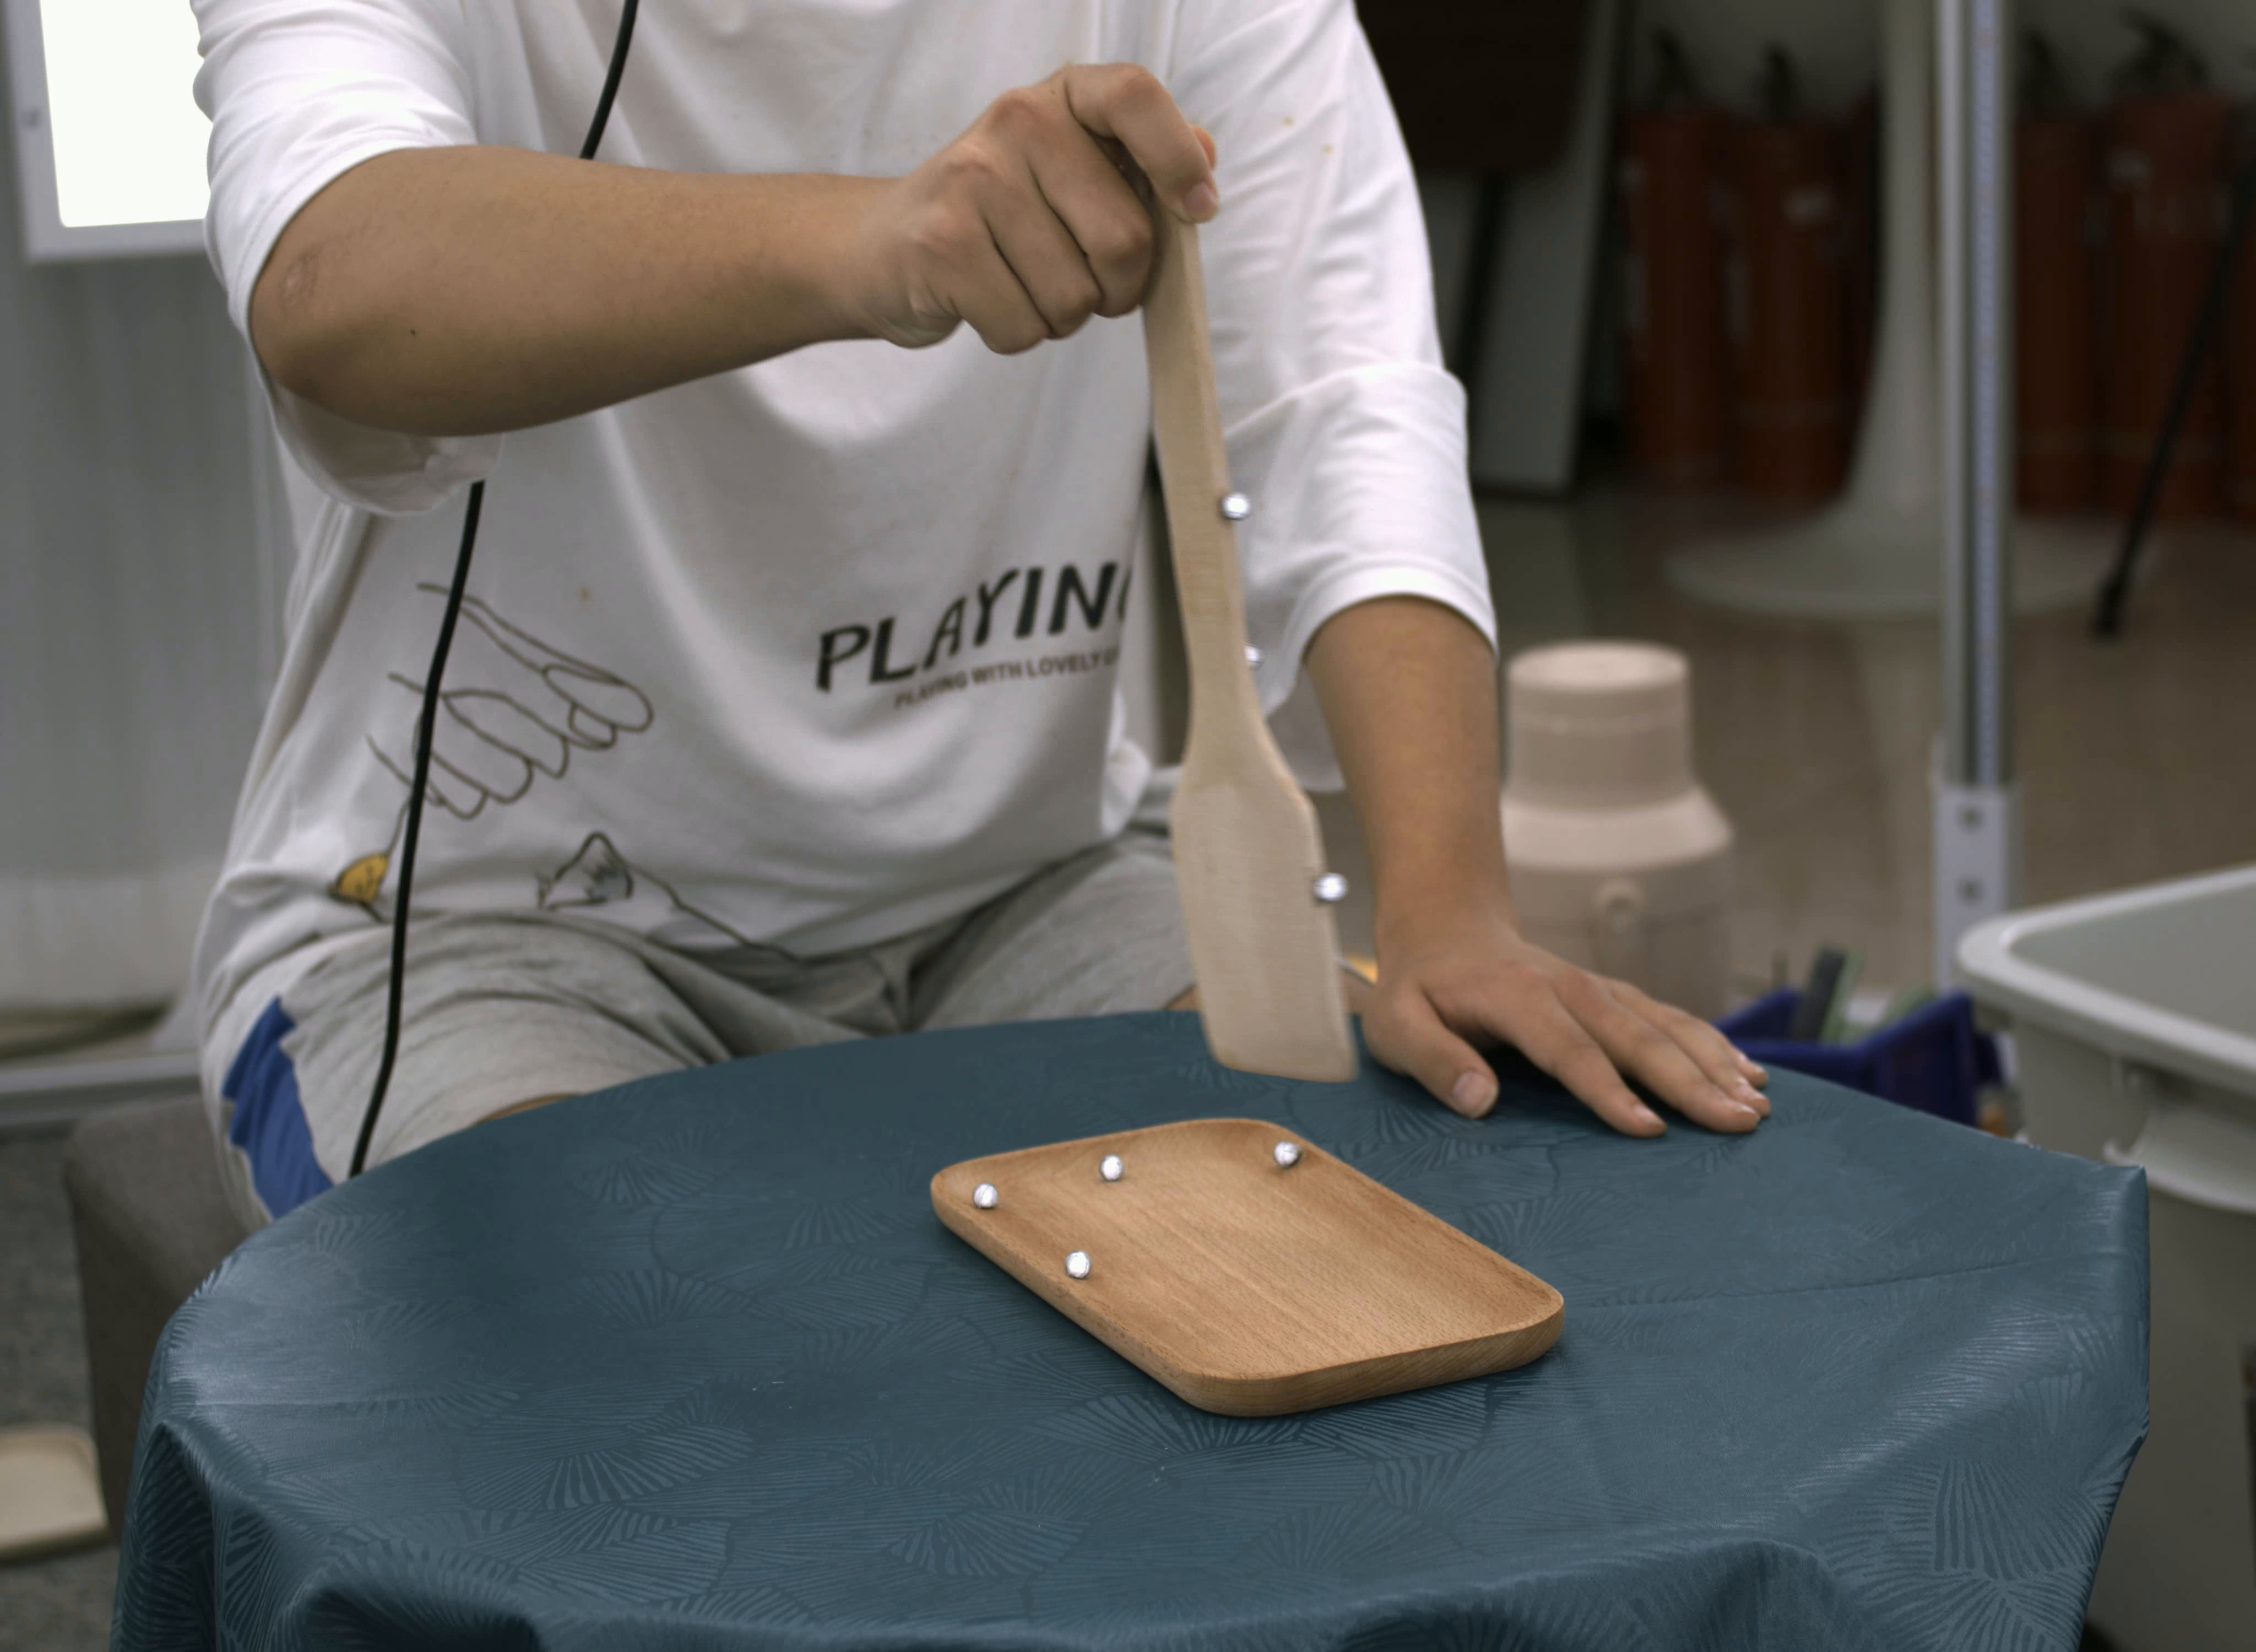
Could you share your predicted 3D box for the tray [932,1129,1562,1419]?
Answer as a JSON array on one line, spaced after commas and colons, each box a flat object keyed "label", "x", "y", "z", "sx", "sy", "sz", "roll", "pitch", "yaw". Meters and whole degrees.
[{"label": "tray", "x": 0.033, "y": 0.136, "z": 1.671, "sx": 0.128, "sy": 0.023, "sz": 0.253, "roll": -11, "pitch": 15, "yaw": -19}]

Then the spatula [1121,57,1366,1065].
[{"label": "spatula", "x": 0.028, "y": -0.075, "z": 1.570, "sx": 0.010, "sy": 0.296, "sz": 0.073, "roll": -12, "pitch": 7, "yaw": -32}]
